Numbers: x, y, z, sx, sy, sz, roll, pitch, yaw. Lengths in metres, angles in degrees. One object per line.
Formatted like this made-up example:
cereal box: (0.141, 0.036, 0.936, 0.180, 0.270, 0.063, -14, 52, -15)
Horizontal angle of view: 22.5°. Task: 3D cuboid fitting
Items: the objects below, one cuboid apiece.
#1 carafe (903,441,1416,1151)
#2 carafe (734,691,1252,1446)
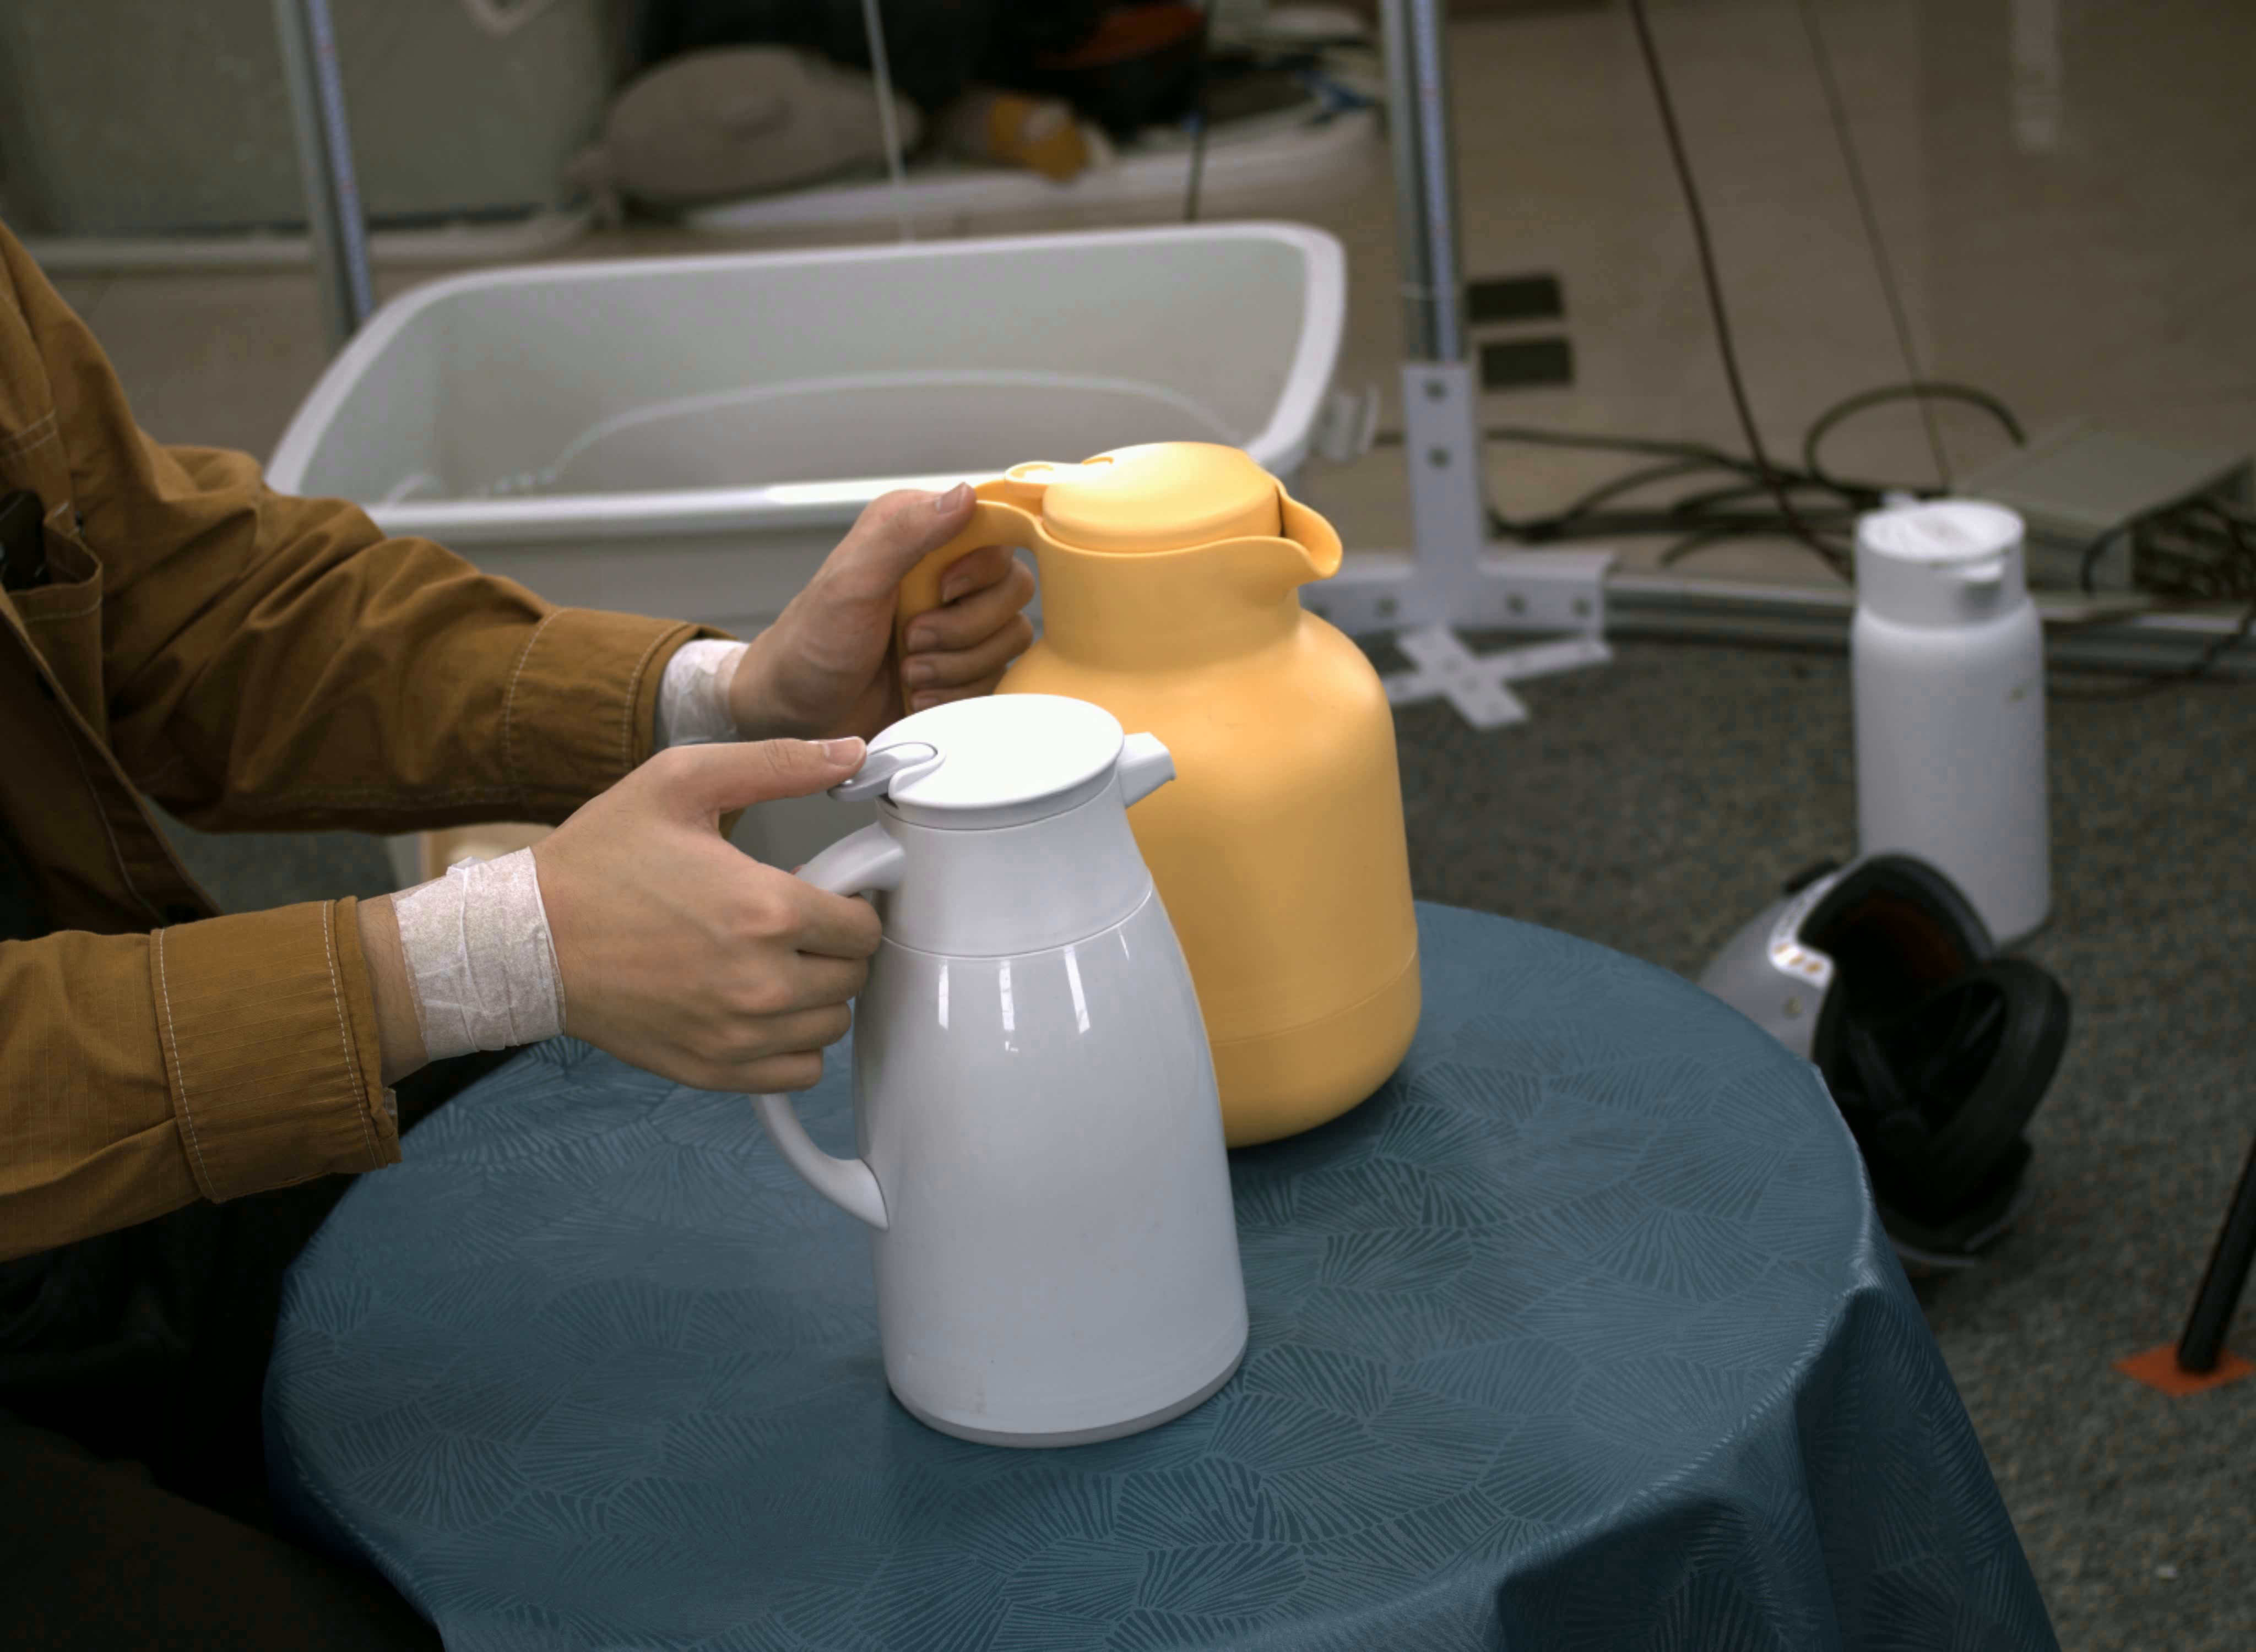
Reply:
carafe: (0.009, -0.019, 2.176, 0.201, 0.264, 0.162, 12, 30, 32)
carafe: (-0.052, 0.083, 1.984, 0.167, 0.252, 0.131, -16, 27, -17)
